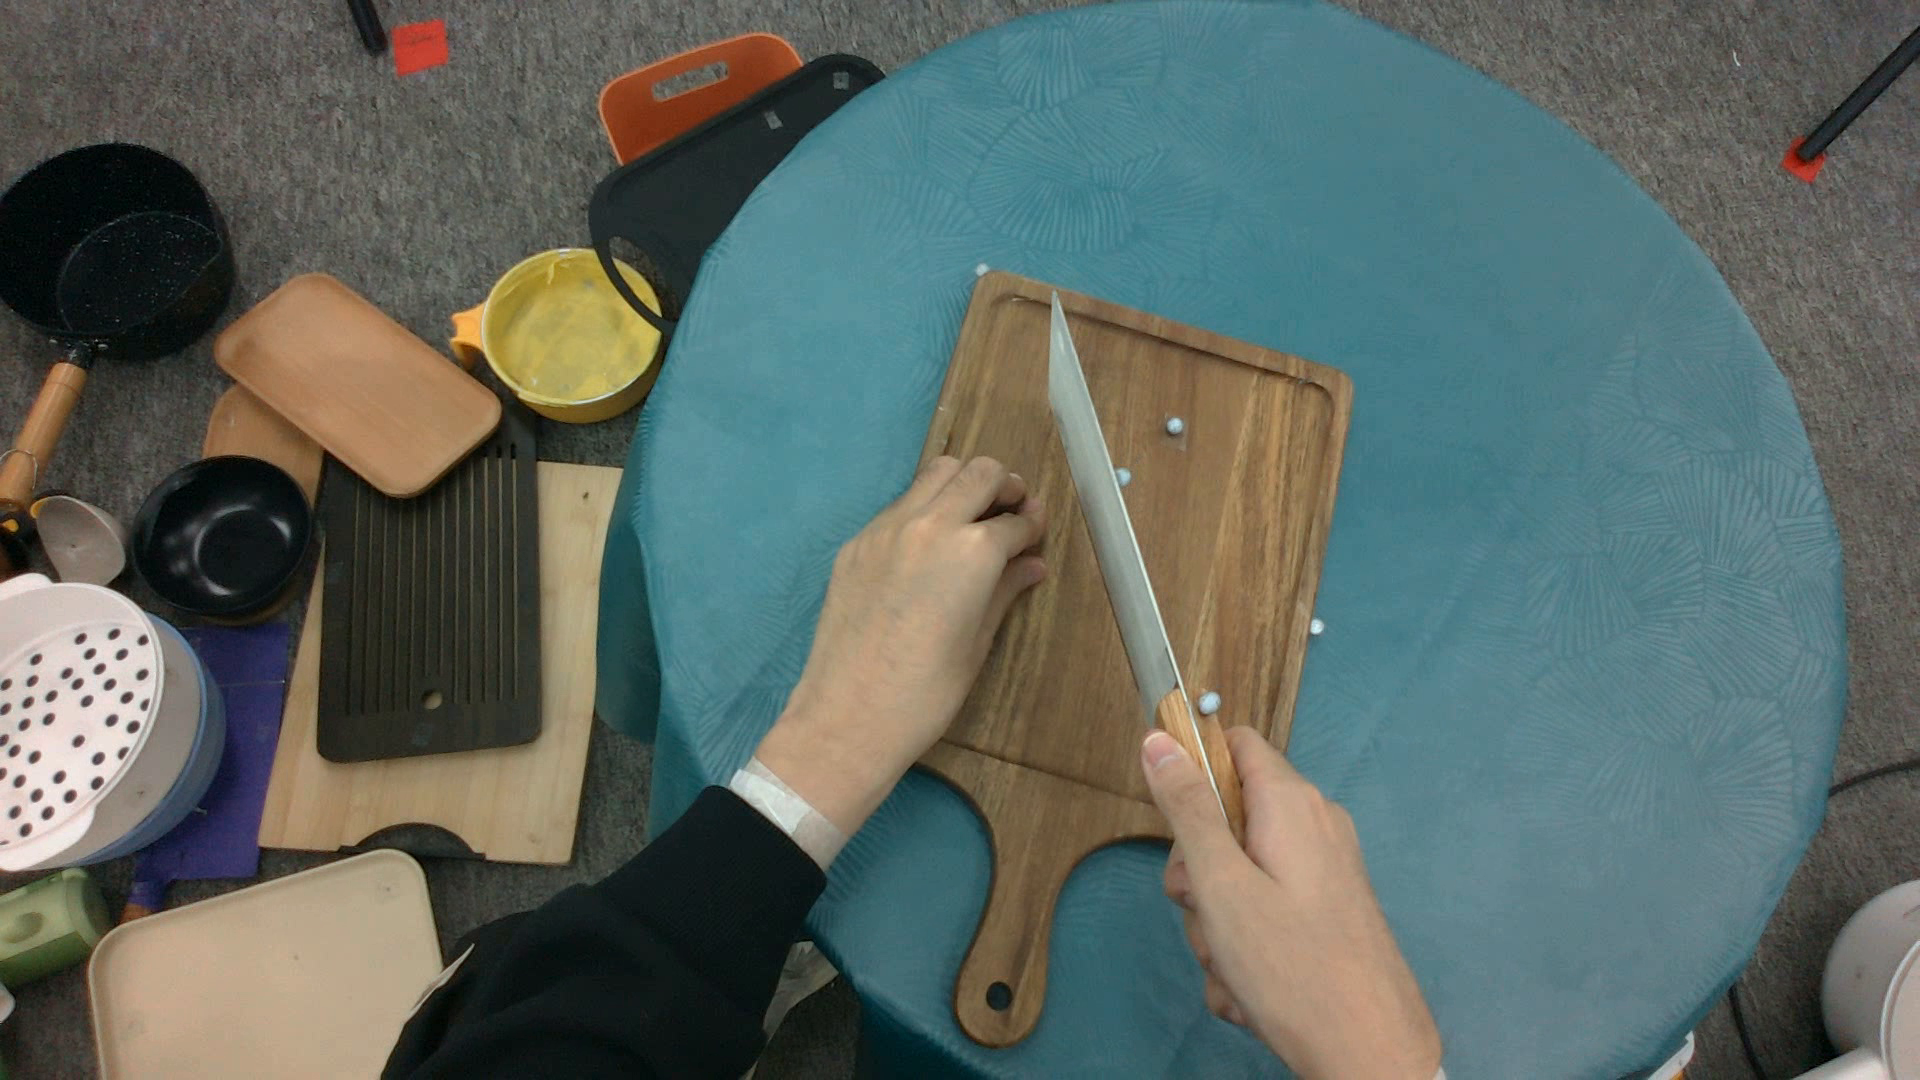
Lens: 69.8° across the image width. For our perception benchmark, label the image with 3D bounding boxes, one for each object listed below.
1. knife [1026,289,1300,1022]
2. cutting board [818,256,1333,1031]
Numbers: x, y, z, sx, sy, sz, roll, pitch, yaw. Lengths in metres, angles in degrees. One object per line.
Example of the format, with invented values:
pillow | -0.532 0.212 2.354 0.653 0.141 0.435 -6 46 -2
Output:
knife | 0.070 0.041 0.555 0.021 0.092 0.306 -13 65 -5
cutting board | 0.048 0.043 0.631 0.201 0.023 0.353 16 71 0
